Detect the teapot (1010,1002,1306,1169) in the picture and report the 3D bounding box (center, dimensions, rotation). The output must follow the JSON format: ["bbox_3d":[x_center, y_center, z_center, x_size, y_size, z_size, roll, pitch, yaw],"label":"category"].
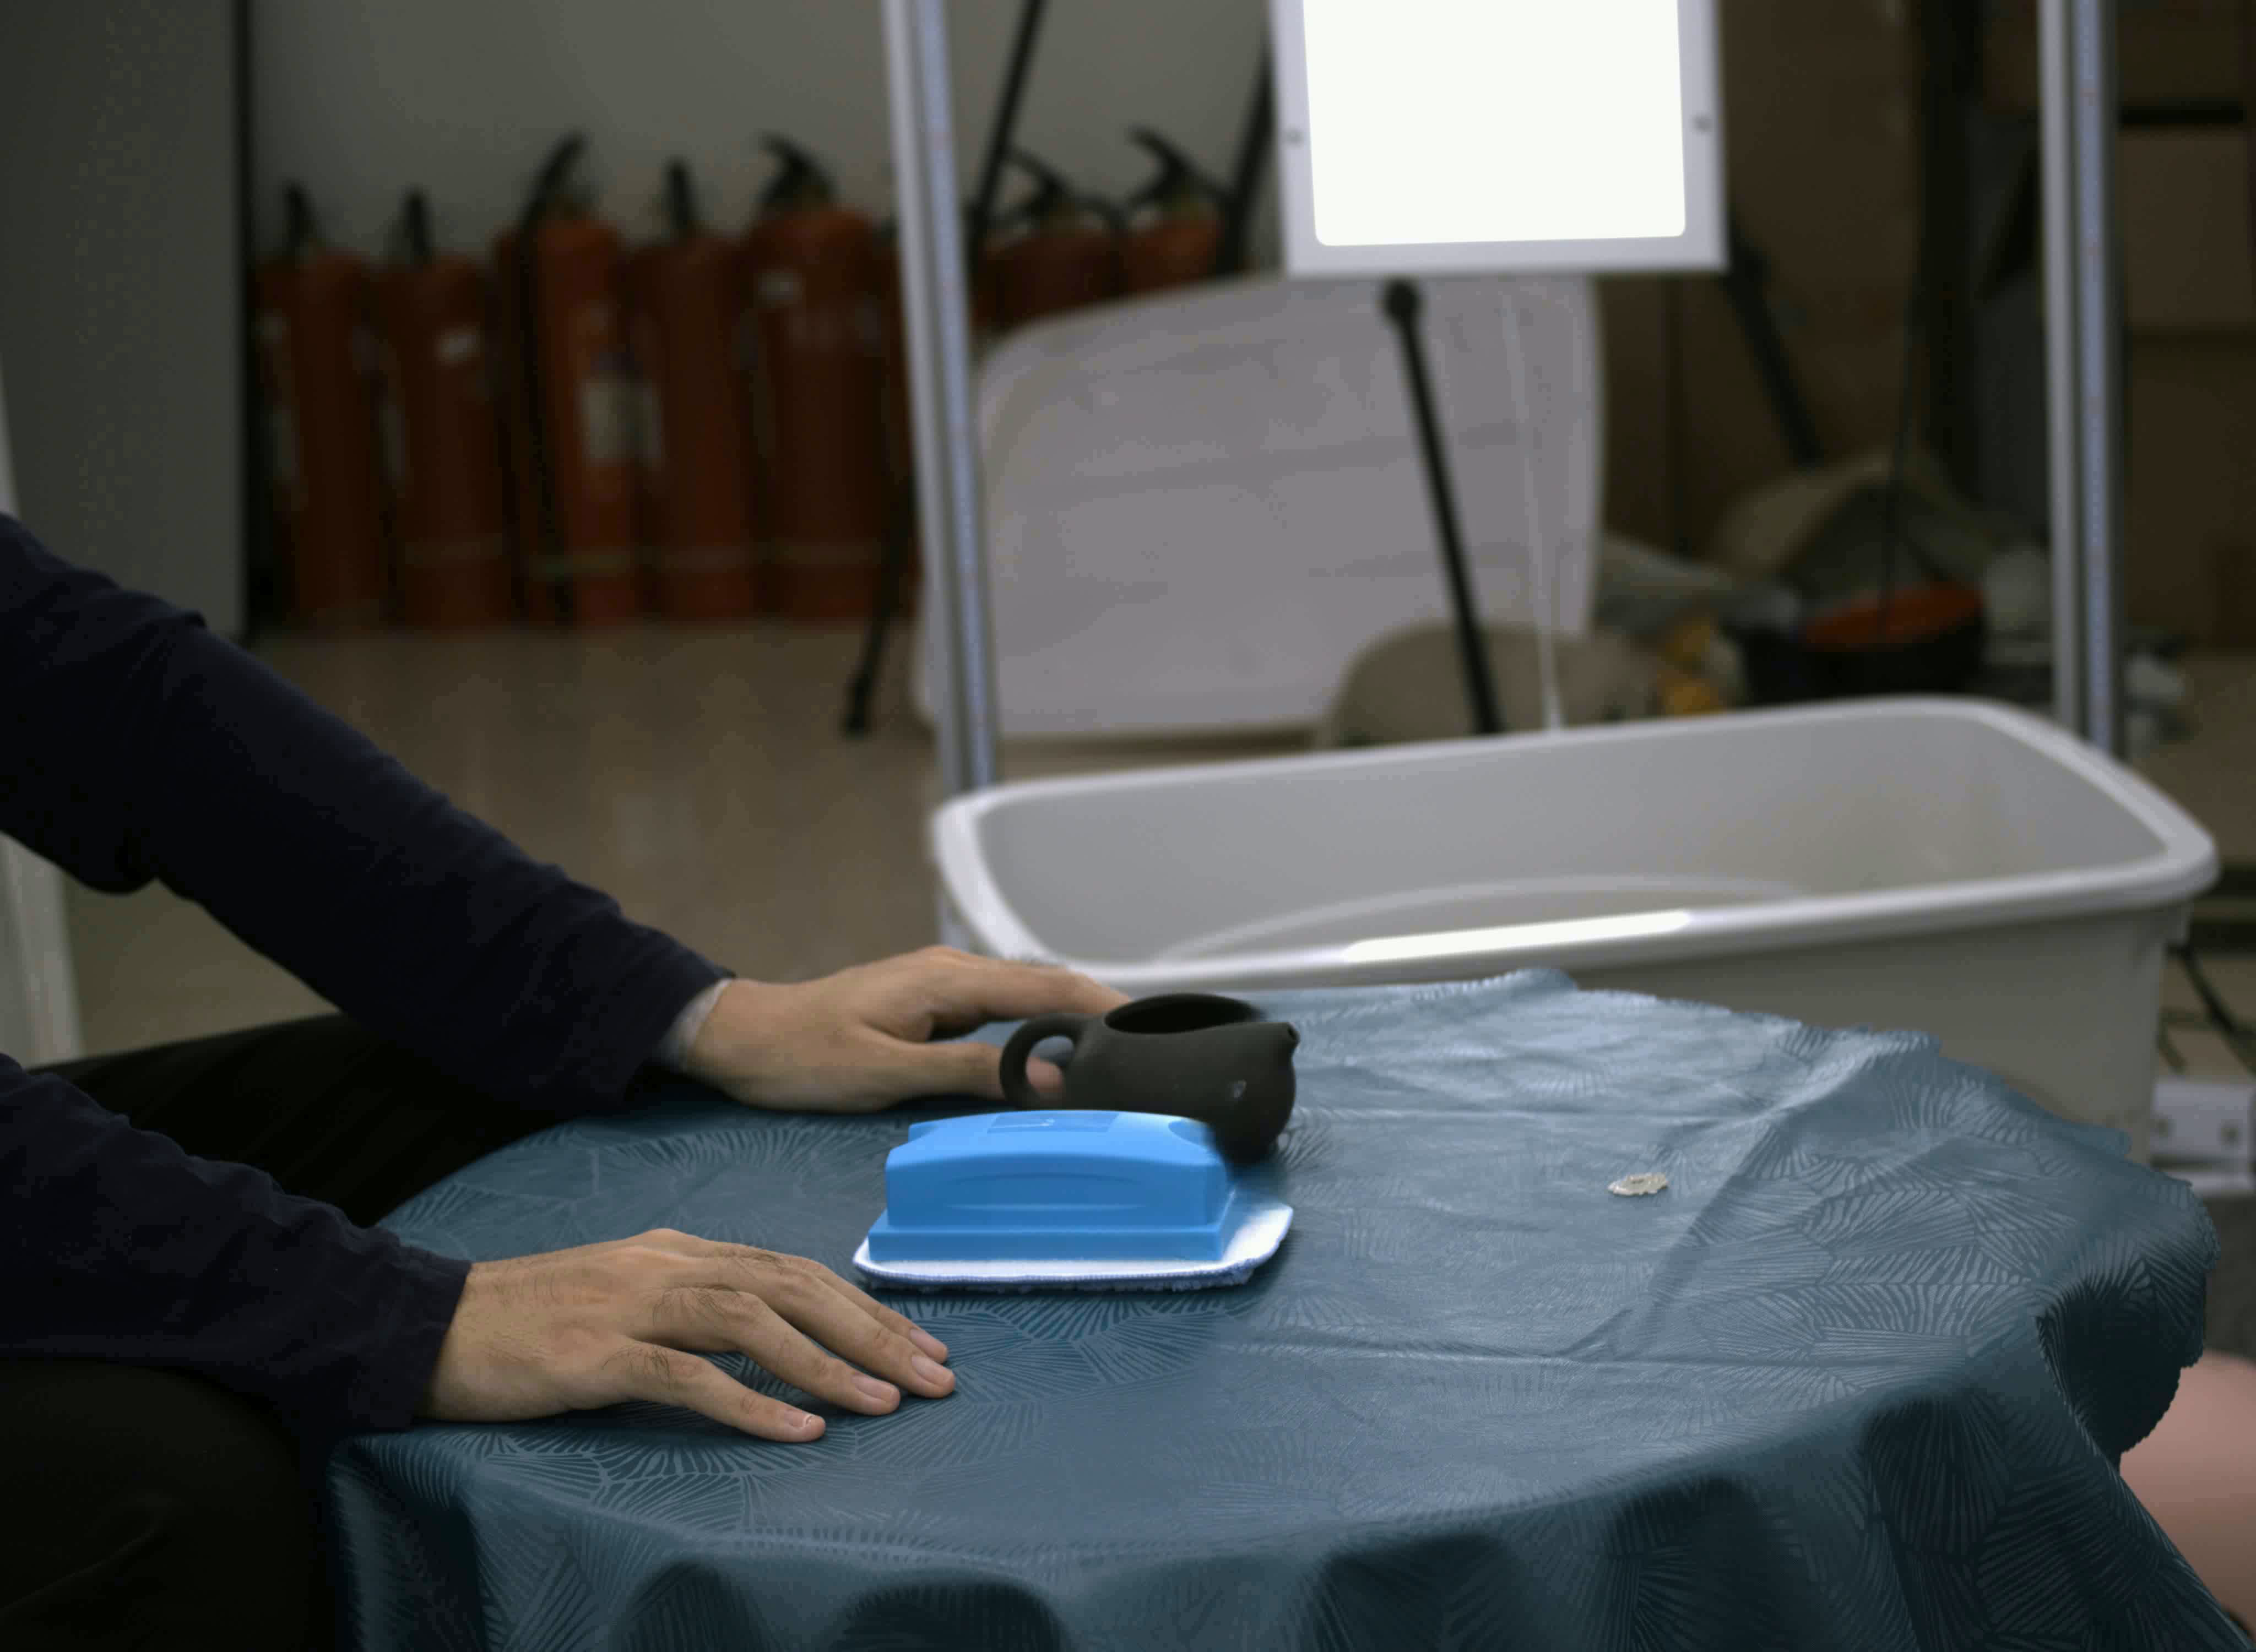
[{"bbox_3d":[0.010,0.091,1.941,0.116,0.053,0.081,5,13,27],"label":"teapot"}]

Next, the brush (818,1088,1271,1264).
[{"bbox_3d":[-0.027,0.116,1.824,0.145,0.056,0.082,1,11,17],"label":"brush"}]
